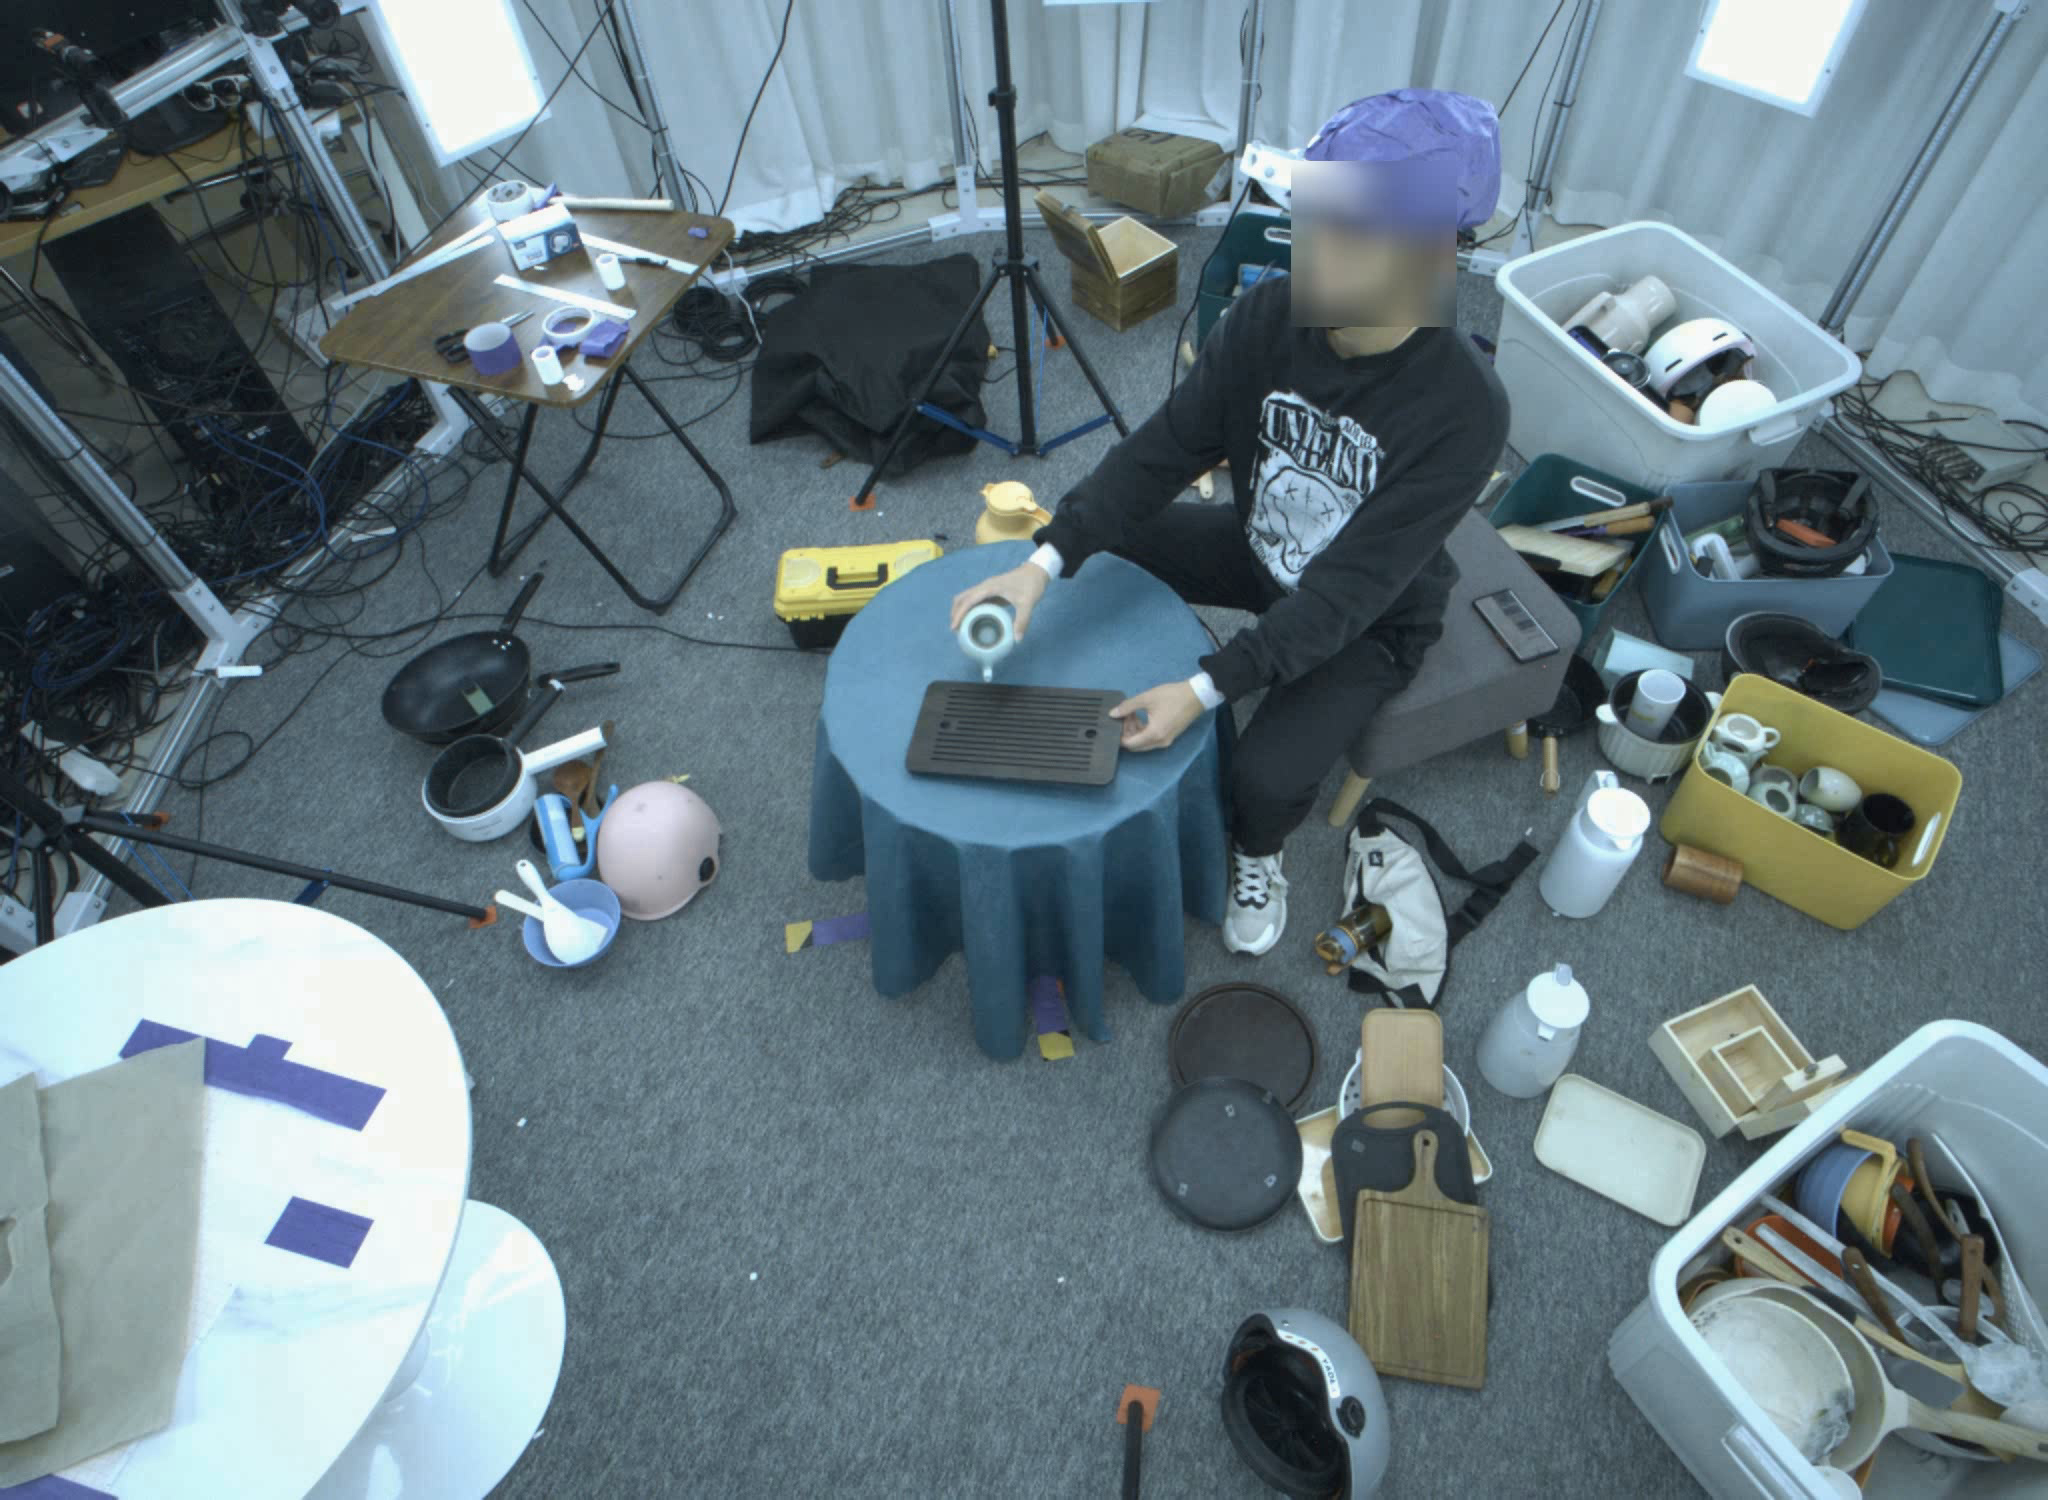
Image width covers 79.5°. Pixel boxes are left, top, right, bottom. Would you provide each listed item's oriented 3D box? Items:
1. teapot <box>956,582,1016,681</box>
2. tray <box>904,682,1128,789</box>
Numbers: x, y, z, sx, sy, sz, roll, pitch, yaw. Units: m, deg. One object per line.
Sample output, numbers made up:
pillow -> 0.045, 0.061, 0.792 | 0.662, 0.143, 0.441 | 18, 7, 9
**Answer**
teapot -> -0.056, -0.173, 1.794 | 0.088, 0.074, 0.144 | 0, 94, -1
tray -> -0.010, -0.021, 1.775 | 0.304, 0.019, 0.169 | 4, 54, 10
